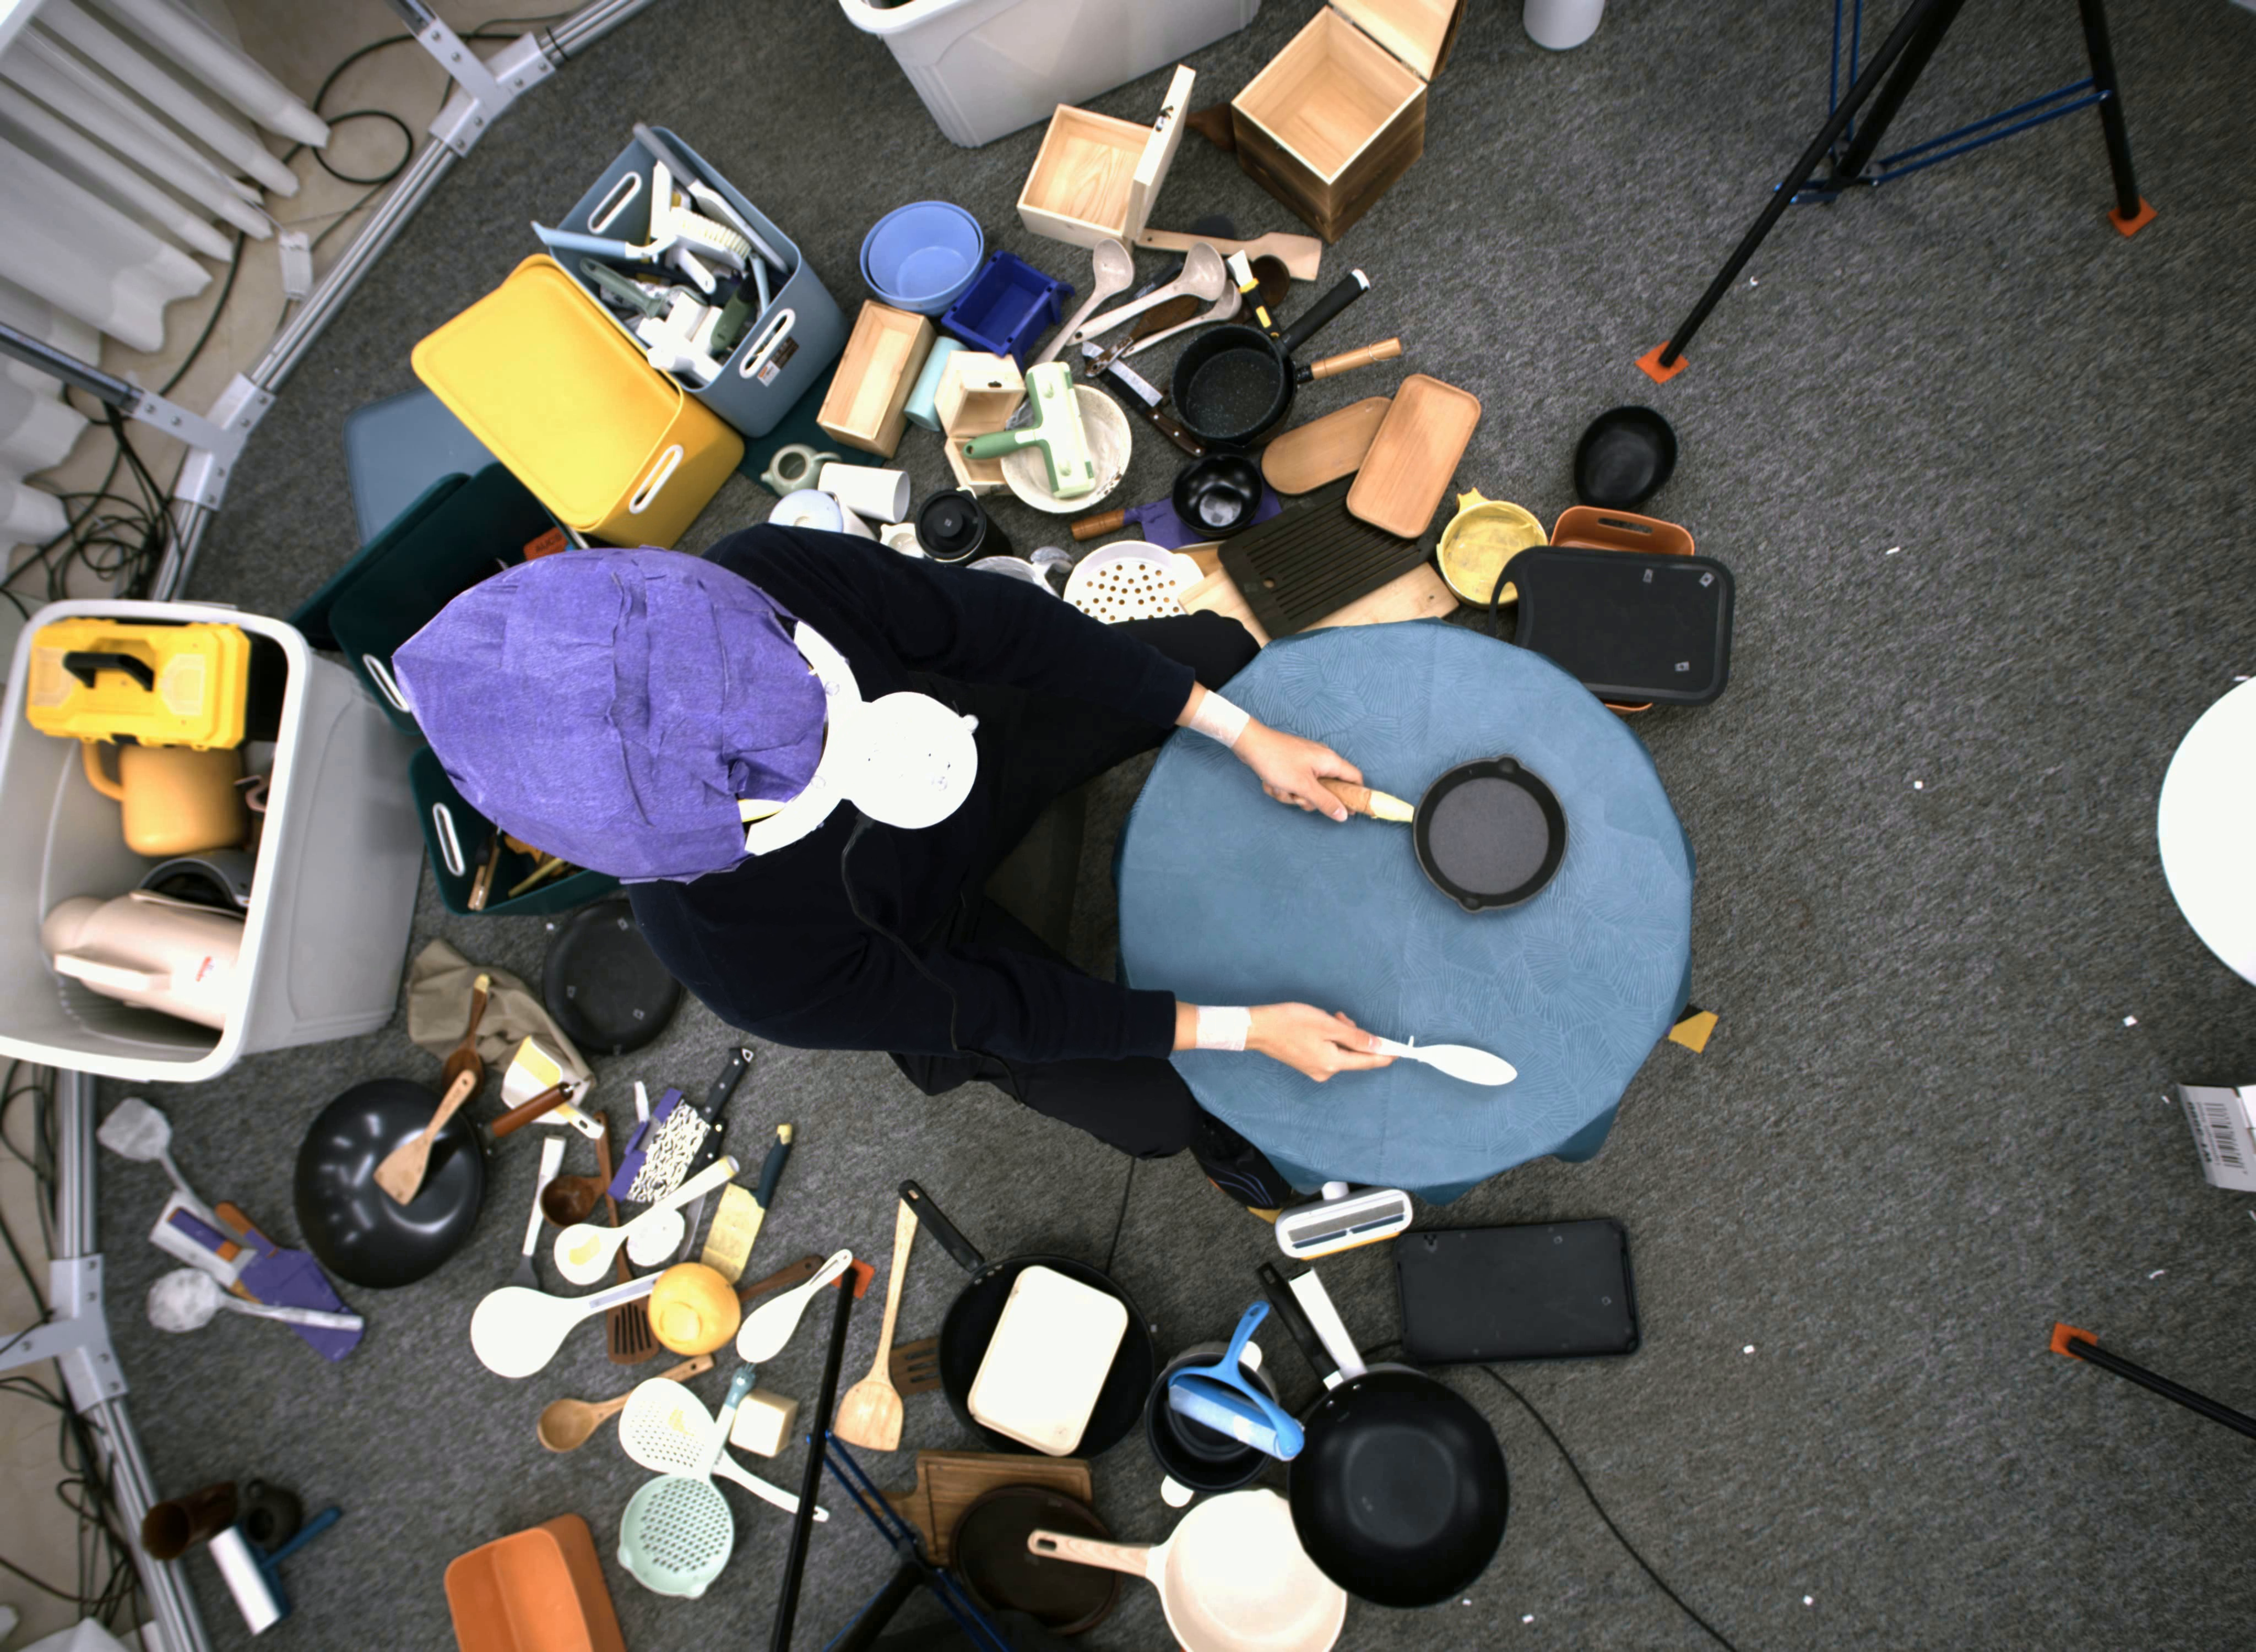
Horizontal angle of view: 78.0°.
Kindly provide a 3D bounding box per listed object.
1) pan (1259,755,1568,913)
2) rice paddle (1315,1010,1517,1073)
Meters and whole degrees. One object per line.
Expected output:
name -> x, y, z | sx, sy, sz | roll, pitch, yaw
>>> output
pan -> 0.294, -0.018, 1.435 | 0.324, 0.049, 0.169 | 17, 90, 11
rice paddle -> 0.294, 0.224, 1.409 | 0.205, 0.068, 0.029 | 12, 95, 12
